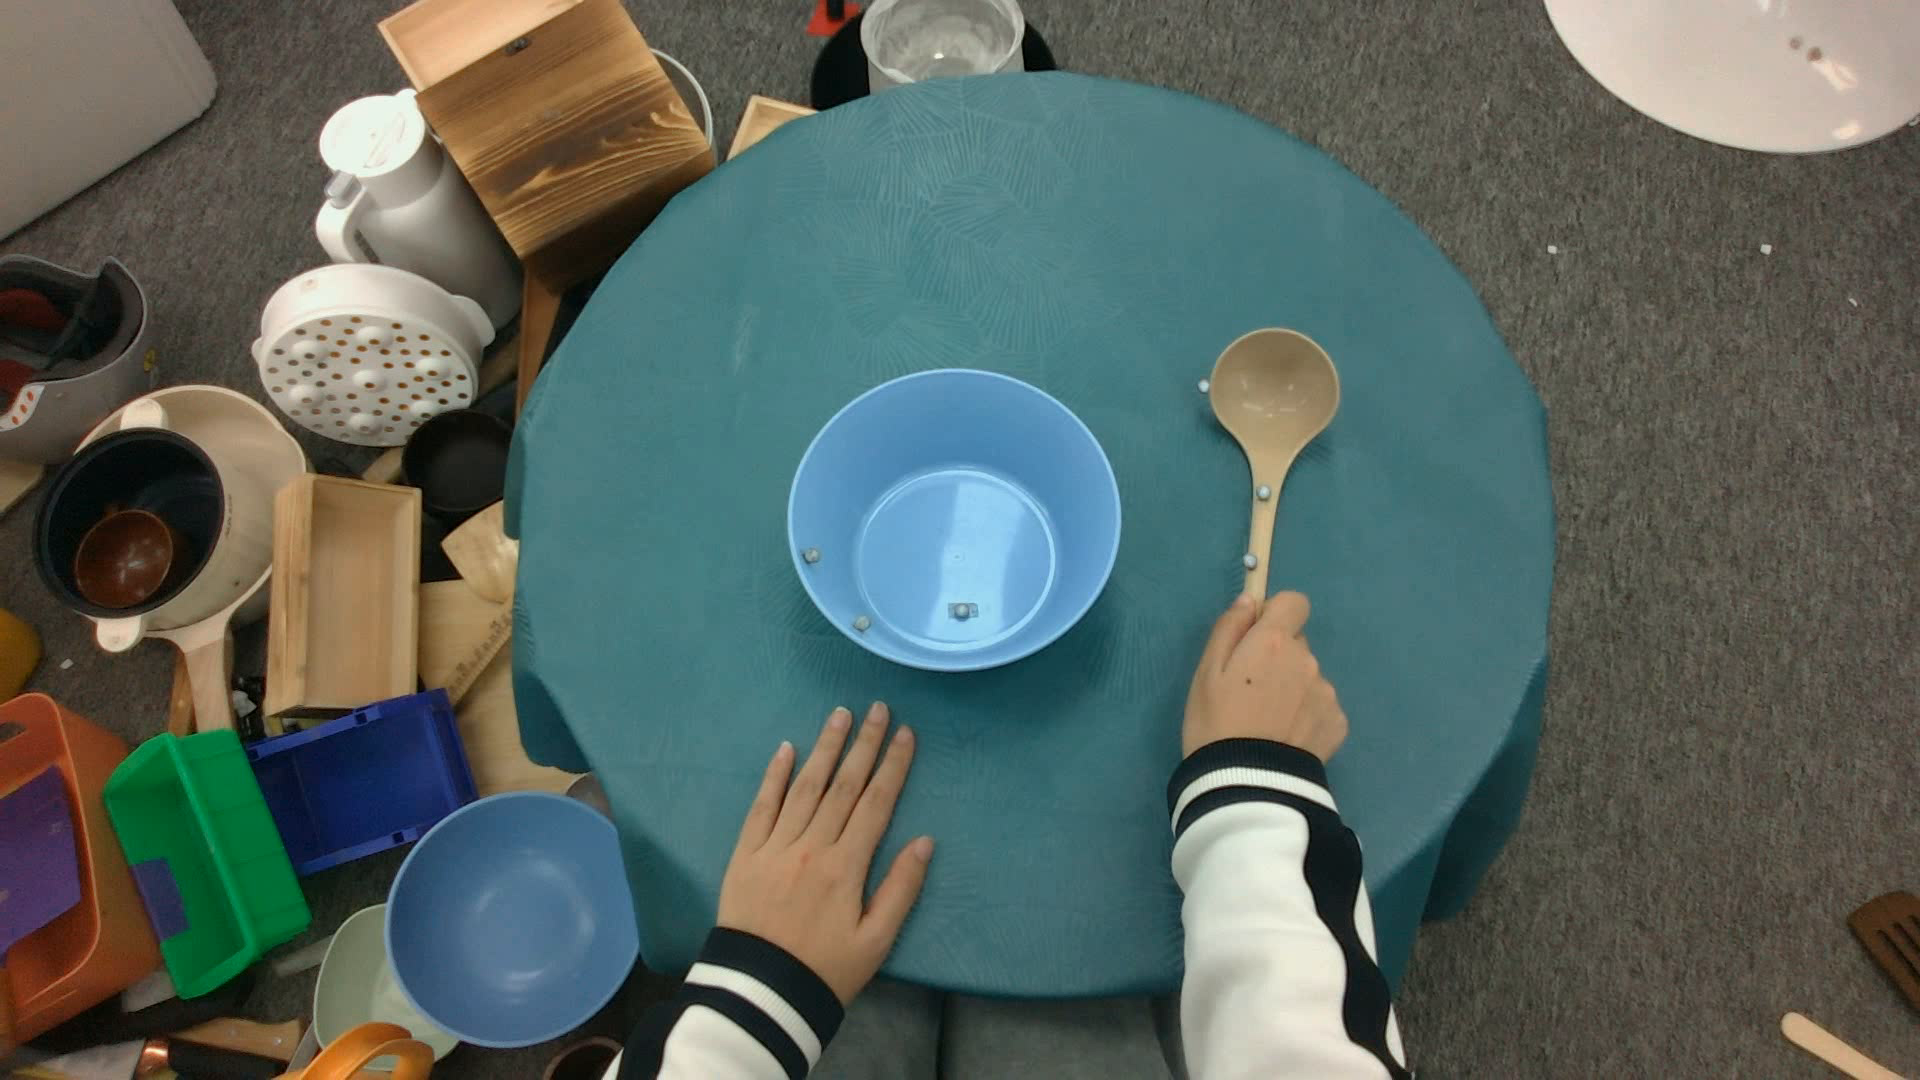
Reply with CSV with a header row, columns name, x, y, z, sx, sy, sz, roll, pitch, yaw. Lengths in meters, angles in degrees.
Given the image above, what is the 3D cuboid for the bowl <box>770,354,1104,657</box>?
name,x,y,z,sx,sy,sz,roll,pitch,yaw
bowl,-0.011,-0.009,0.750,0.176,0.070,0.176,0,65,1

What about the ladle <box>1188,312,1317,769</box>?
name,x,y,z,sx,sy,sz,roll,pitch,yaw
ladle,0.152,-0.010,0.739,0.072,0.072,0.255,2,60,14
